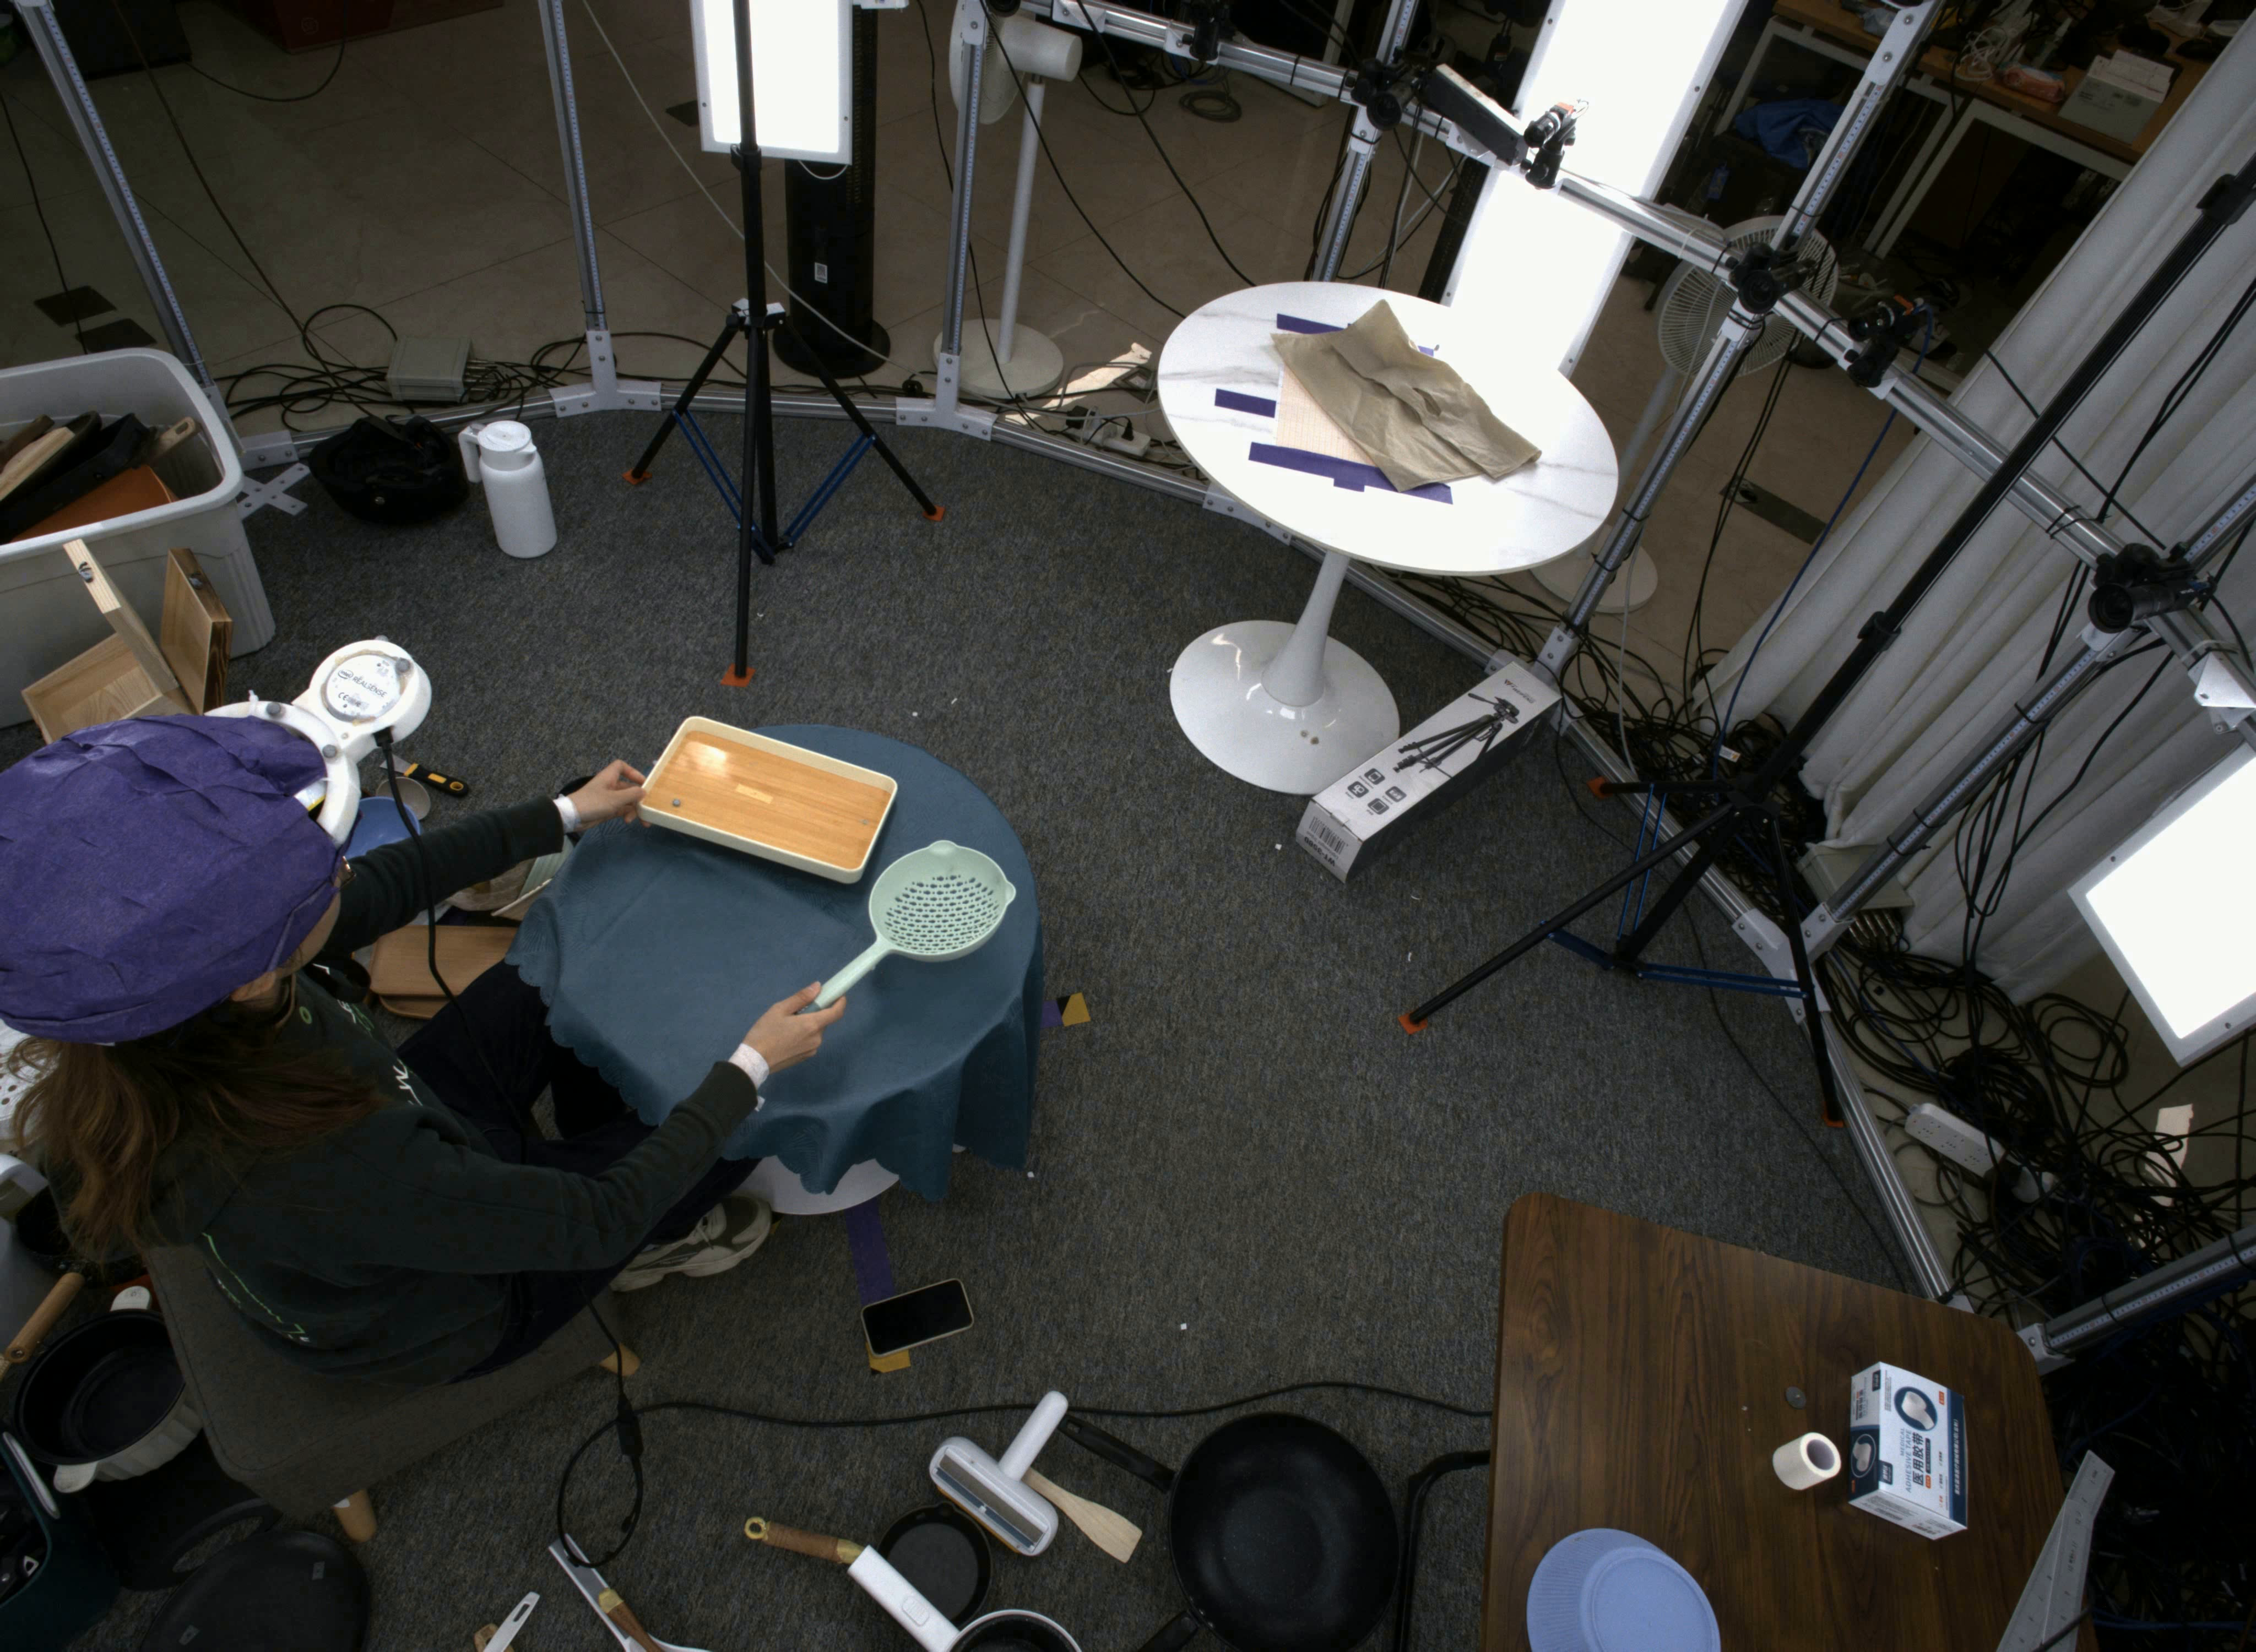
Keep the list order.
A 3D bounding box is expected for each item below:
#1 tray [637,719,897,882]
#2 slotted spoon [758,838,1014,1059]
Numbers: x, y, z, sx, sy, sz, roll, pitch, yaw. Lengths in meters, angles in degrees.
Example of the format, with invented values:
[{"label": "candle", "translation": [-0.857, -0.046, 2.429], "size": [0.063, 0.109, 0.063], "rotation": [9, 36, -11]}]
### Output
[{"label": "tray", "translation": [-0.470, -0.037, 1.698], "size": [0.299, 0.028, 0.188], "rotation": [18, 42, -6]}, {"label": "slotted spoon", "translation": [-0.294, 0.147, 1.541], "size": [0.164, 0.077, 0.360], "rotation": [33, 48, 26]}]
